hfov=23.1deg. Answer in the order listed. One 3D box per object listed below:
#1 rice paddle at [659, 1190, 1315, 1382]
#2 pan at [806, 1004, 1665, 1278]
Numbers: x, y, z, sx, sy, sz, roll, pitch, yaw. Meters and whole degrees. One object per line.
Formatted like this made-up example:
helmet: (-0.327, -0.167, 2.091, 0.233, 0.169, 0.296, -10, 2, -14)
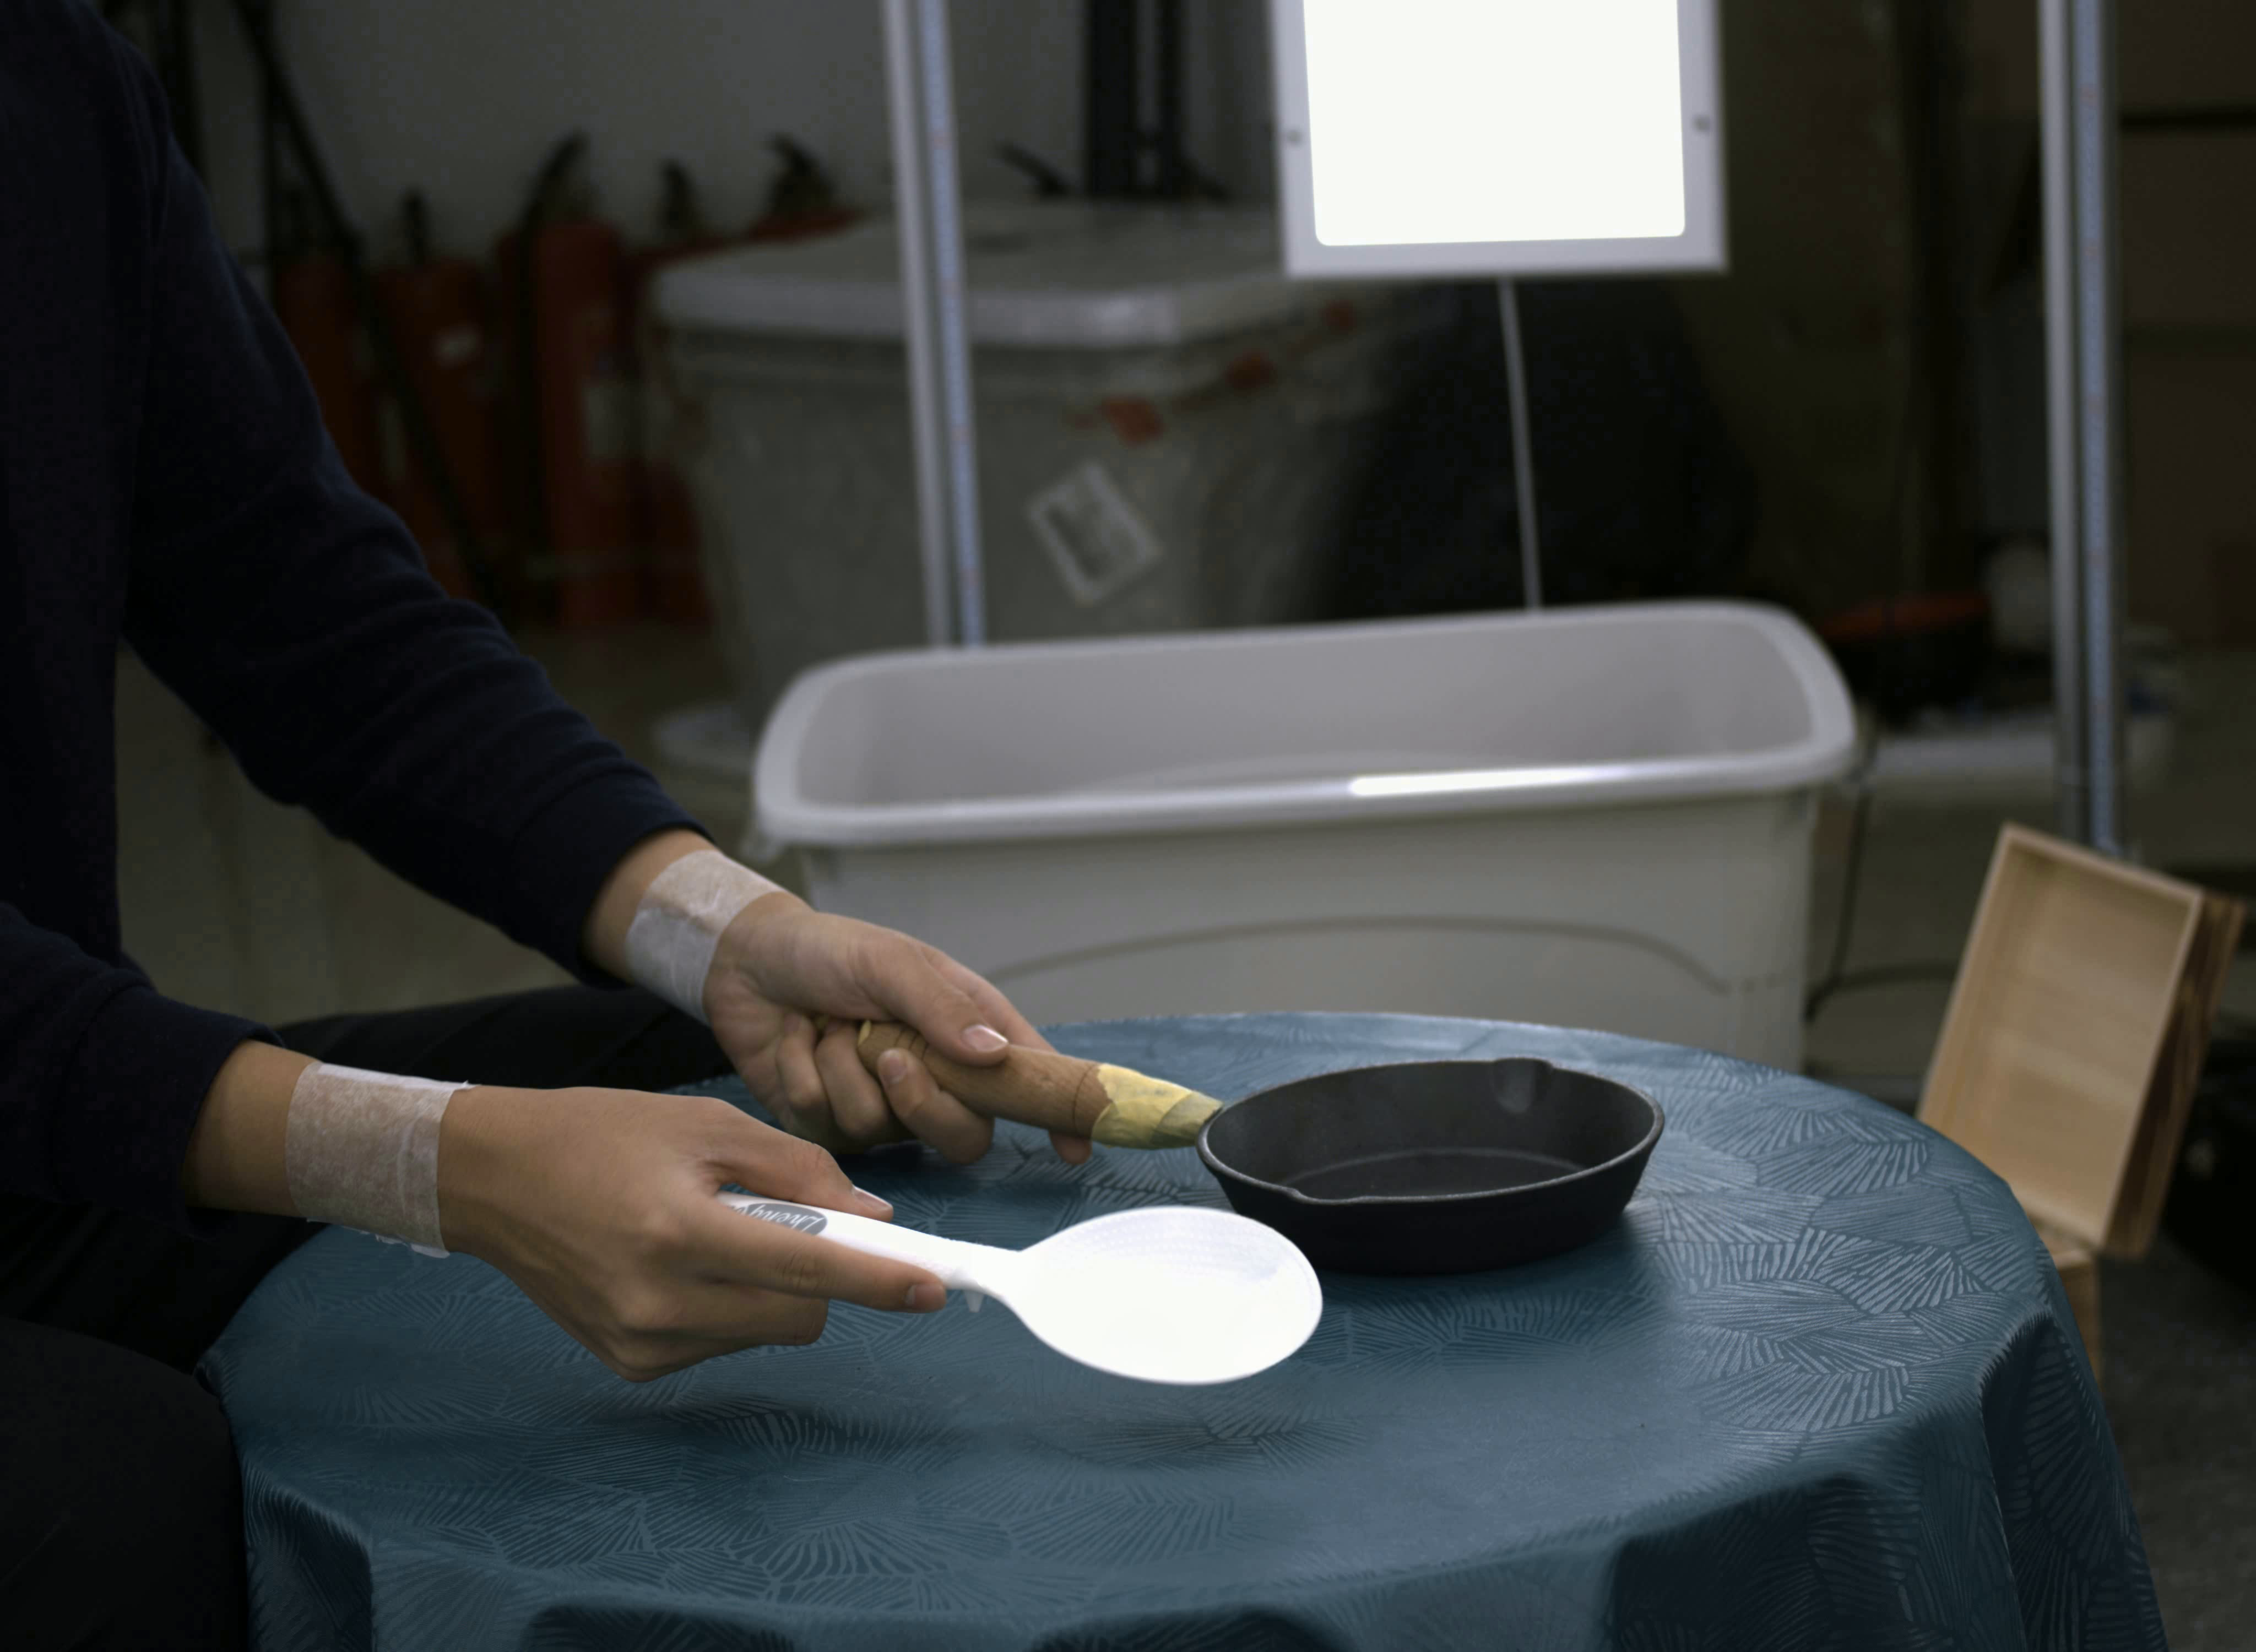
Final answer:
rice paddle: (-0.042, 0.134, 1.675, 0.207, 0.029, 0.068, 4, 53, 18)
pan: (0.029, 0.101, 1.882, 0.330, 0.050, 0.165, 6, 18, 32)
